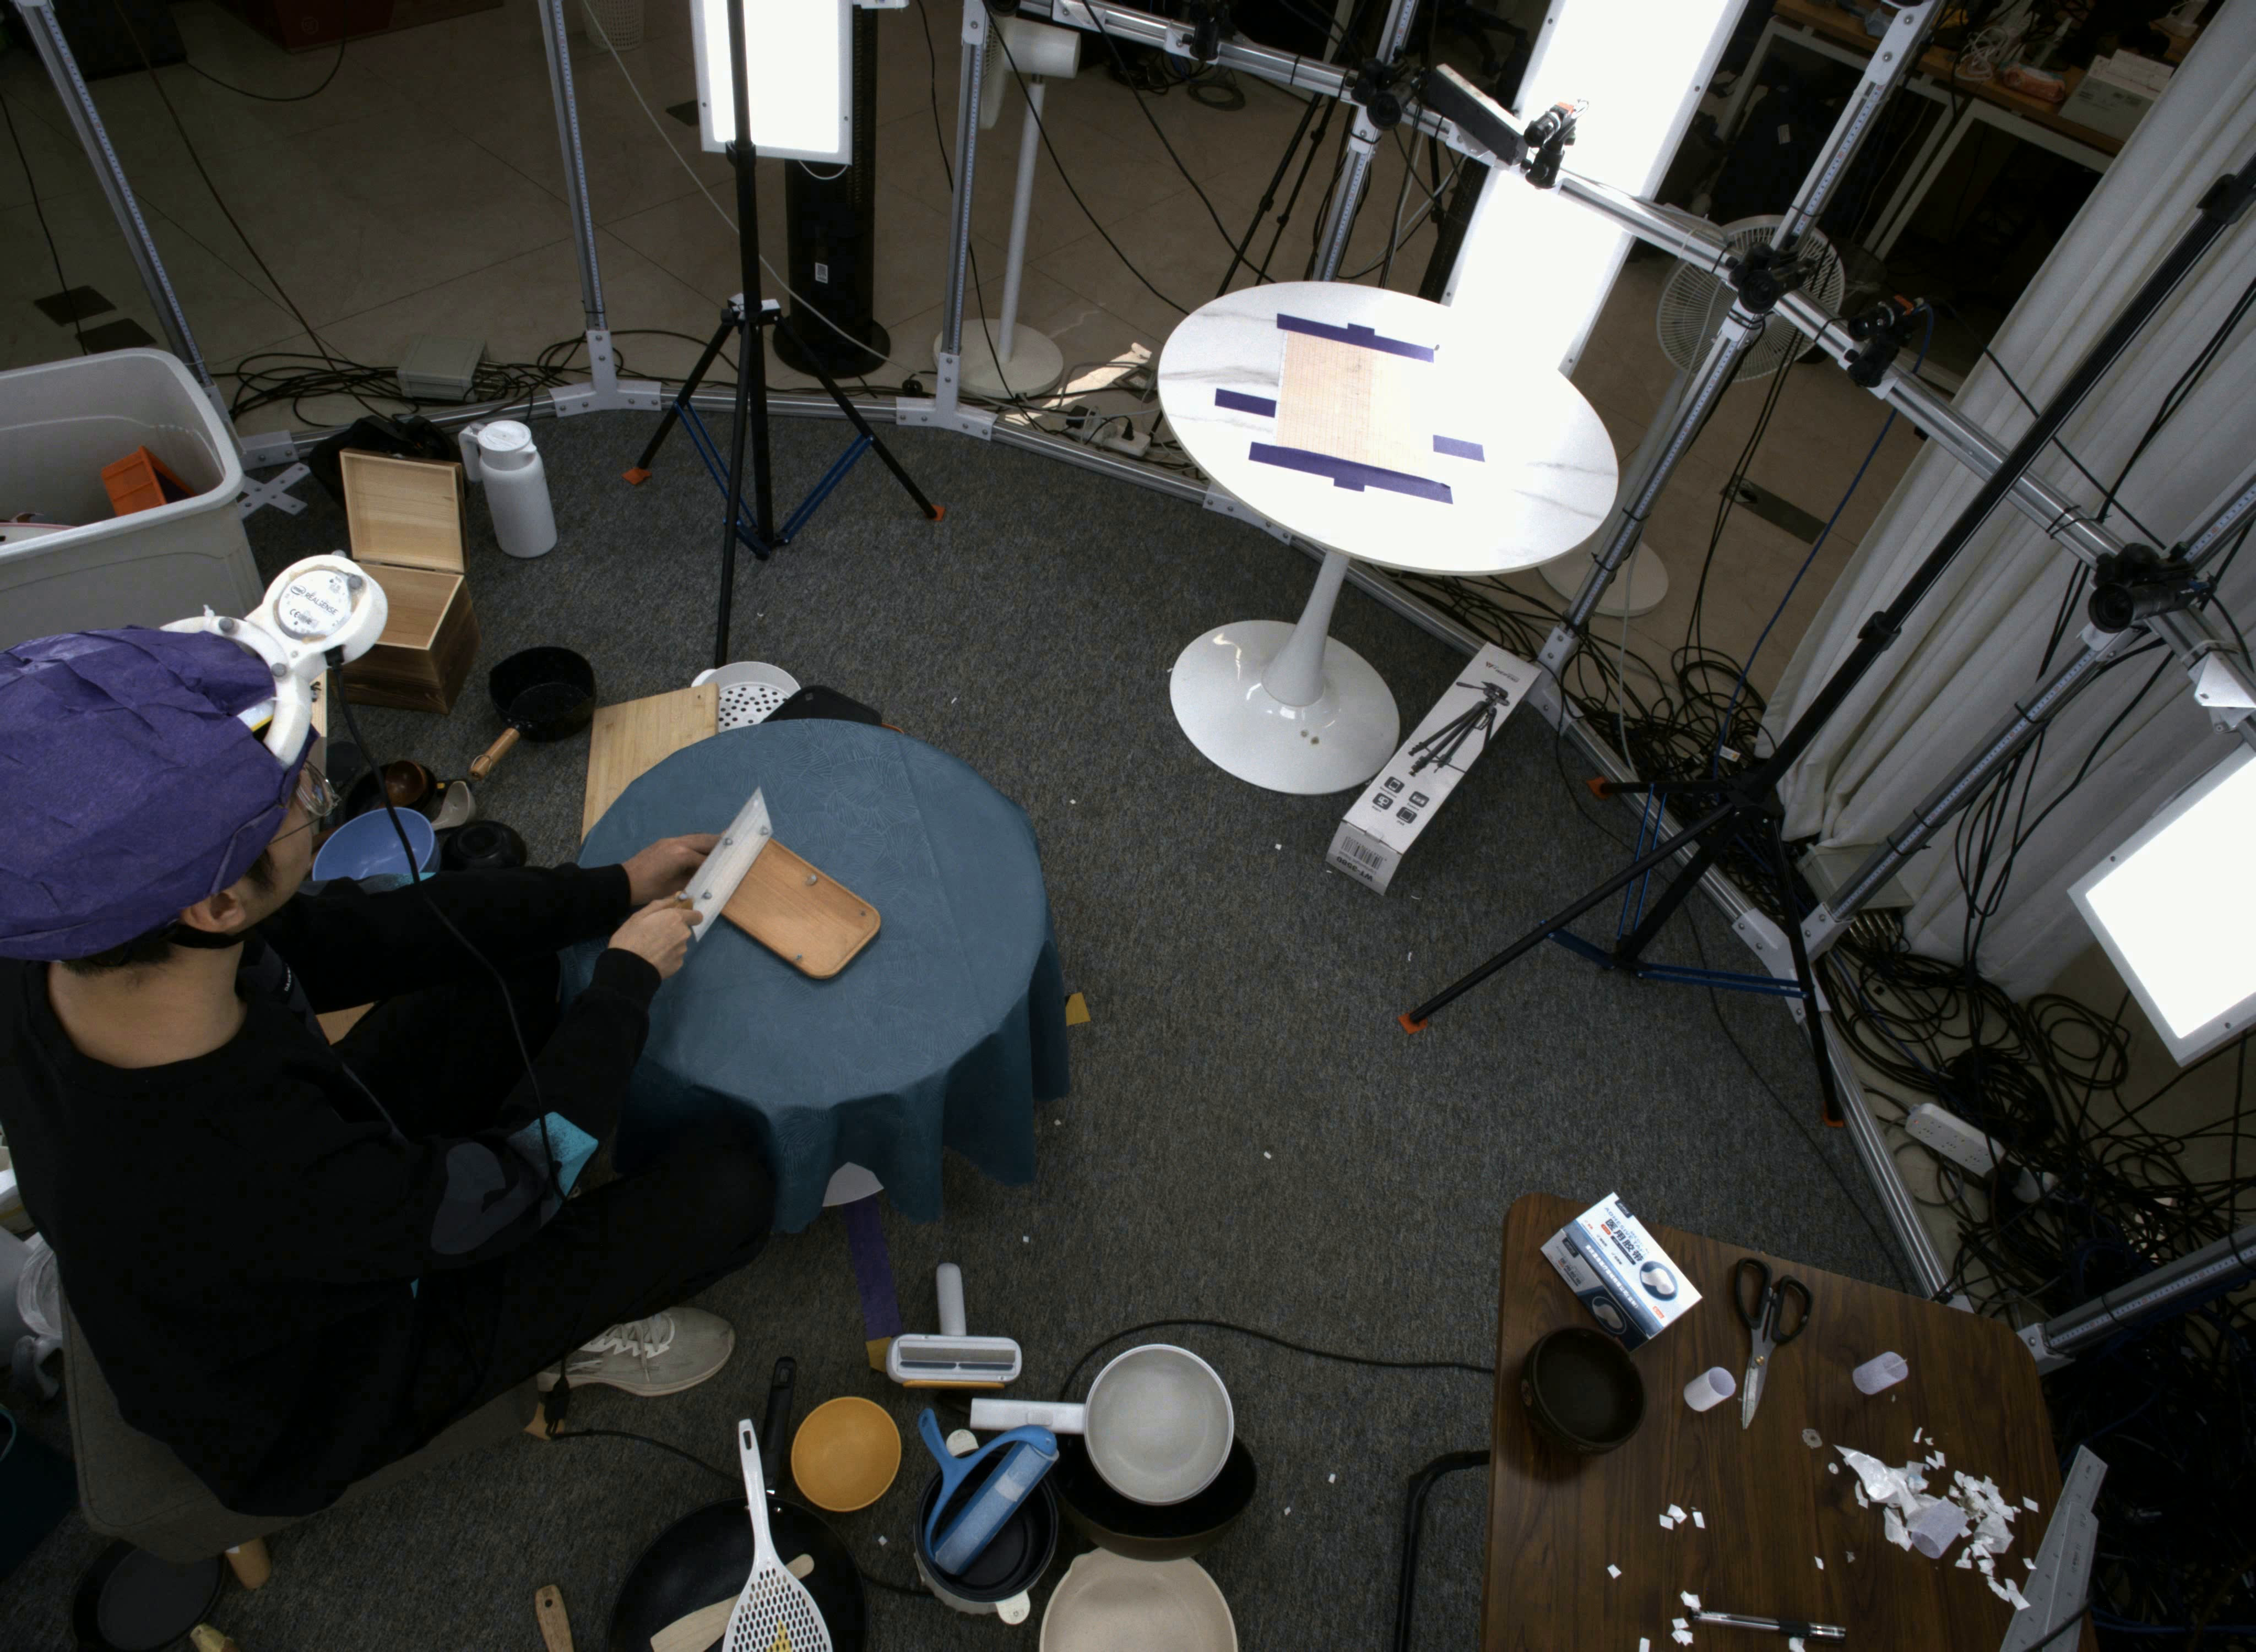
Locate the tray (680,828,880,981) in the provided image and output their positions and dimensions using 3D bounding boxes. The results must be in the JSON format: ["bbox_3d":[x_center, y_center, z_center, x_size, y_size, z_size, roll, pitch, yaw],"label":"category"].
[{"bbox_3d":[-0.438,0.092,1.631,0.246,0.023,0.130,33,50,12],"label":"tray"}]

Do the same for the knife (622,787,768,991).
[{"bbox_3d":[-0.510,0.084,1.545,0.020,0.096,0.303,14,50,12],"label":"knife"}]
